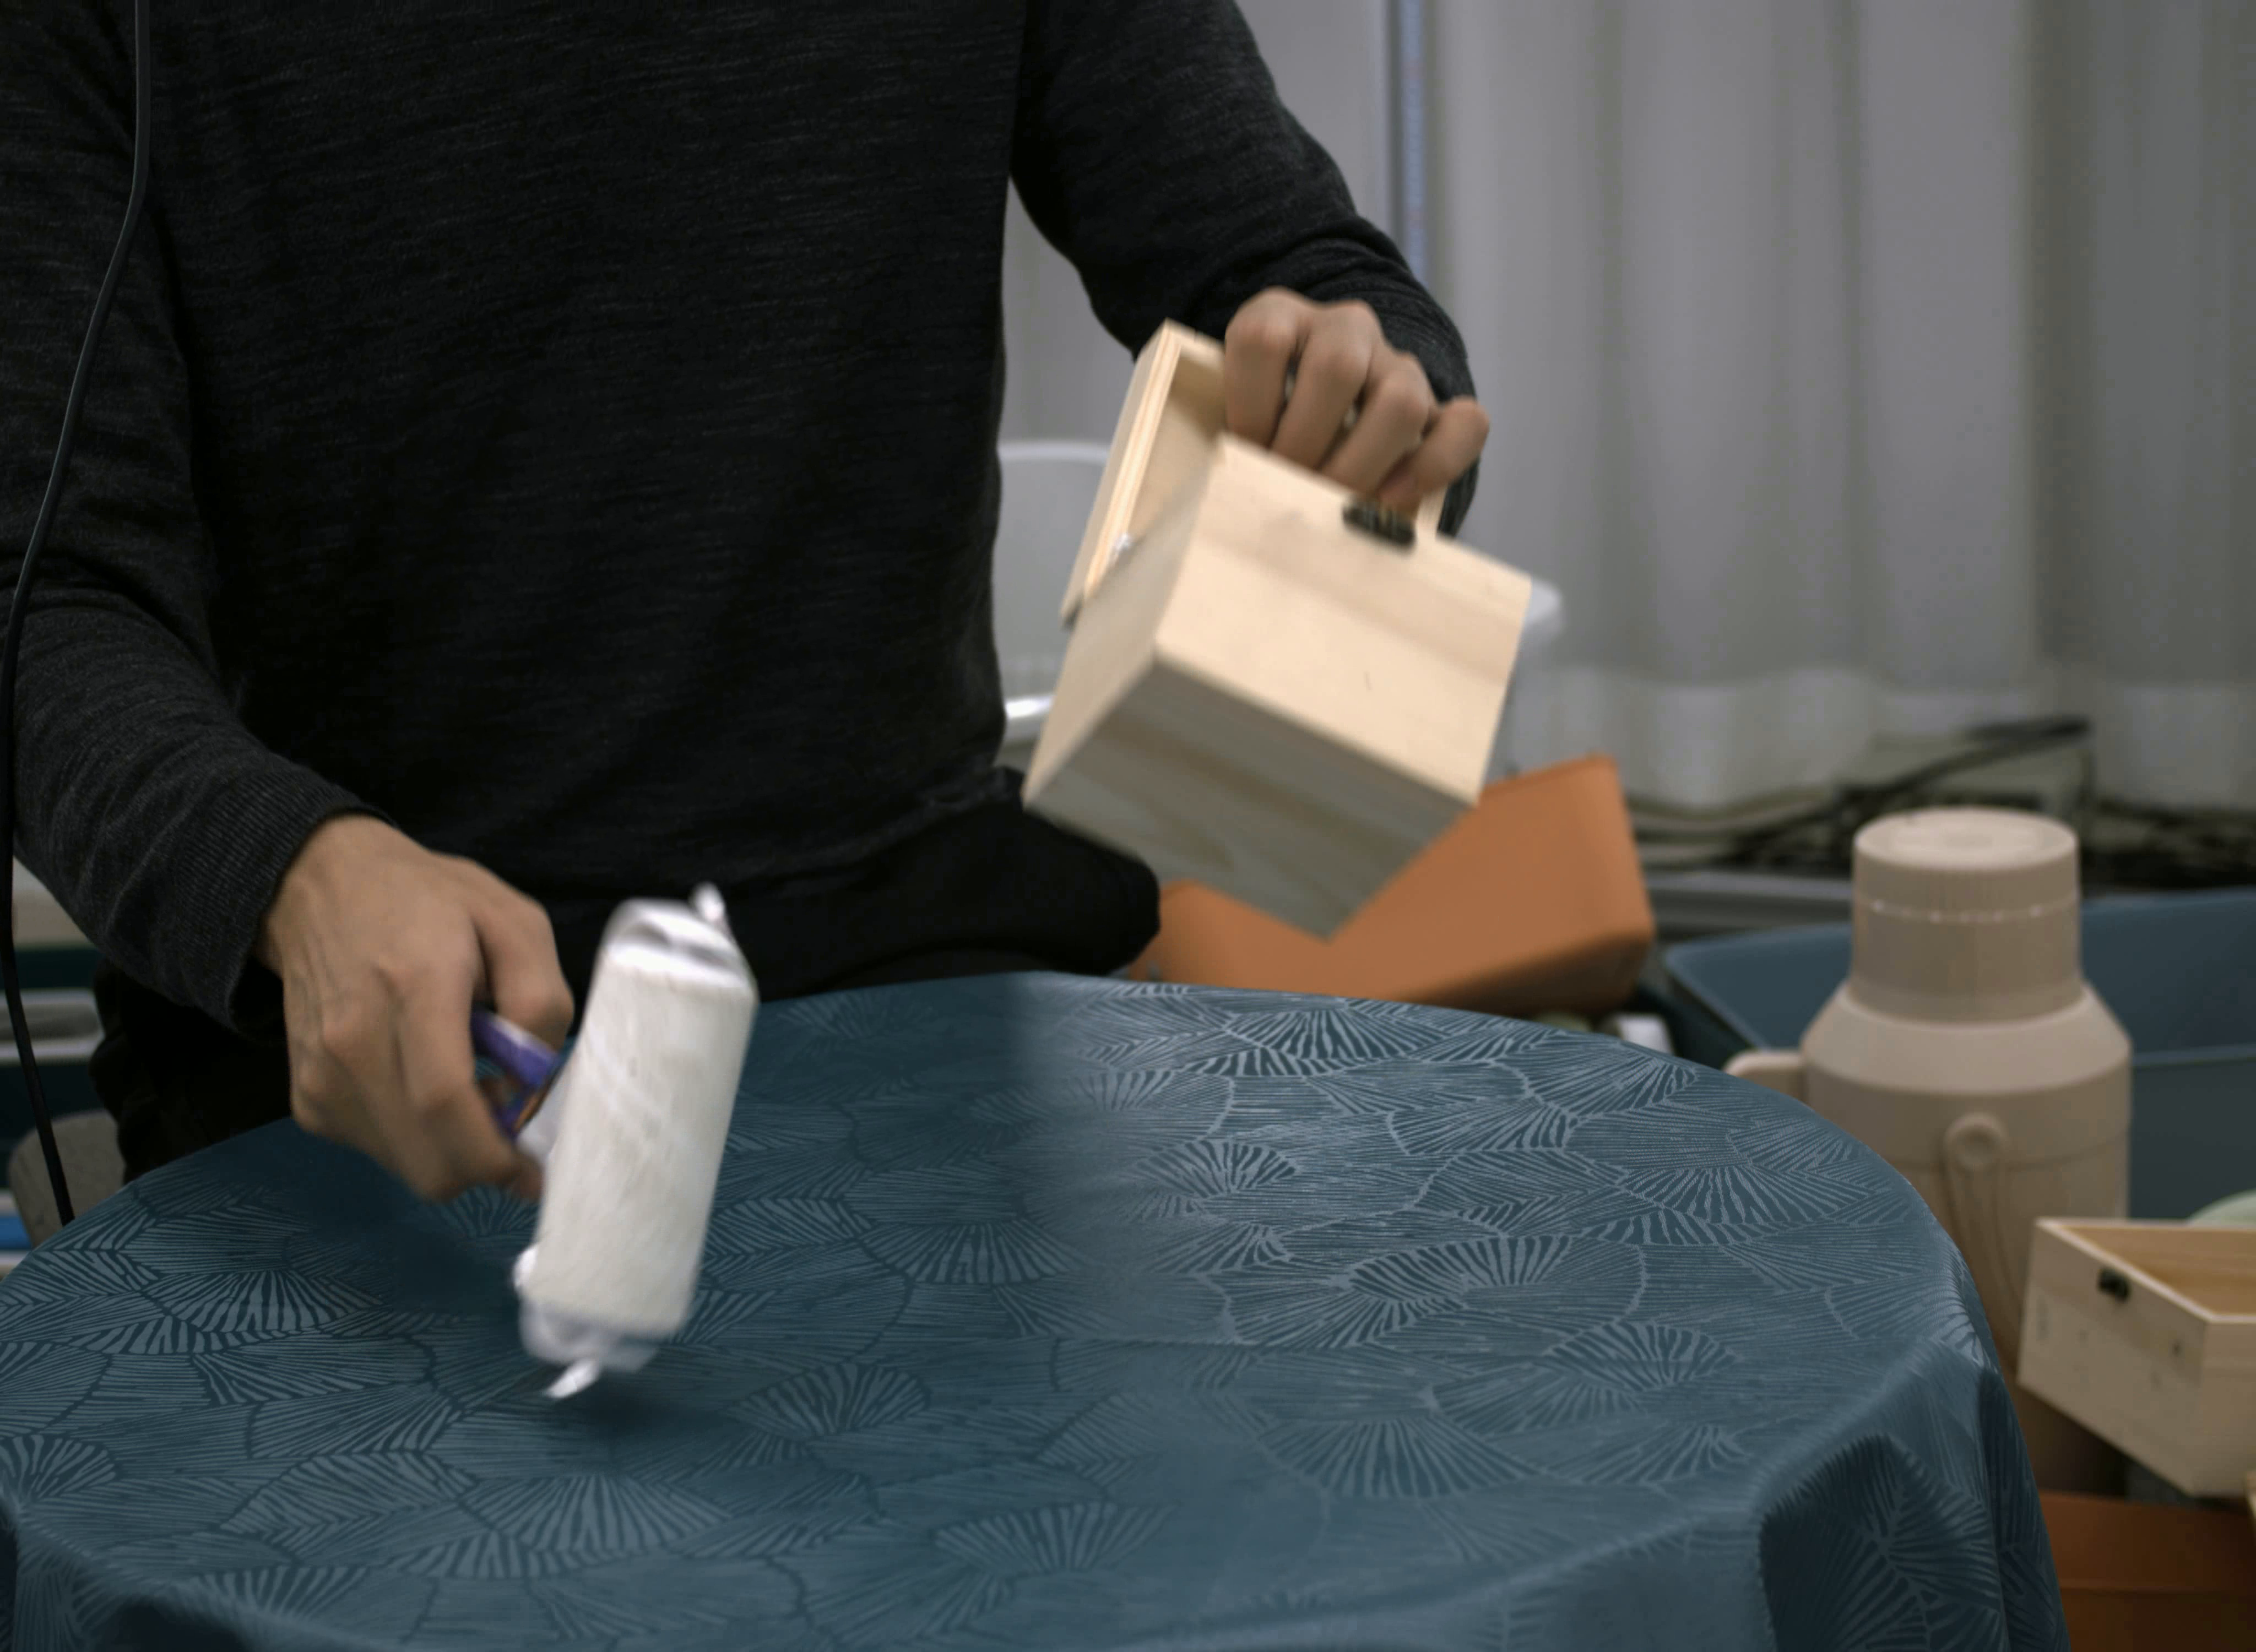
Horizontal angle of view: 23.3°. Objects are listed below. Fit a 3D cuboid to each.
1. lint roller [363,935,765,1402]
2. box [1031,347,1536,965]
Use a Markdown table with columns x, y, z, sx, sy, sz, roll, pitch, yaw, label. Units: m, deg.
| x | y | z | sx | sy | sz | roll | pitch | yaw | label |
| --- | --- | --- | --- | --- | --- | --- | --- | --- | --- |
| -0.182 | 0.082 | 1.586 | 0.049 | 0.133 | 0.182 | 22 | -1 | -43 | lint roller |
| 0.053 | -0.070 | 1.596 | 0.102 | 0.187 | 0.133 | 24 | -33 | -12 | box |
